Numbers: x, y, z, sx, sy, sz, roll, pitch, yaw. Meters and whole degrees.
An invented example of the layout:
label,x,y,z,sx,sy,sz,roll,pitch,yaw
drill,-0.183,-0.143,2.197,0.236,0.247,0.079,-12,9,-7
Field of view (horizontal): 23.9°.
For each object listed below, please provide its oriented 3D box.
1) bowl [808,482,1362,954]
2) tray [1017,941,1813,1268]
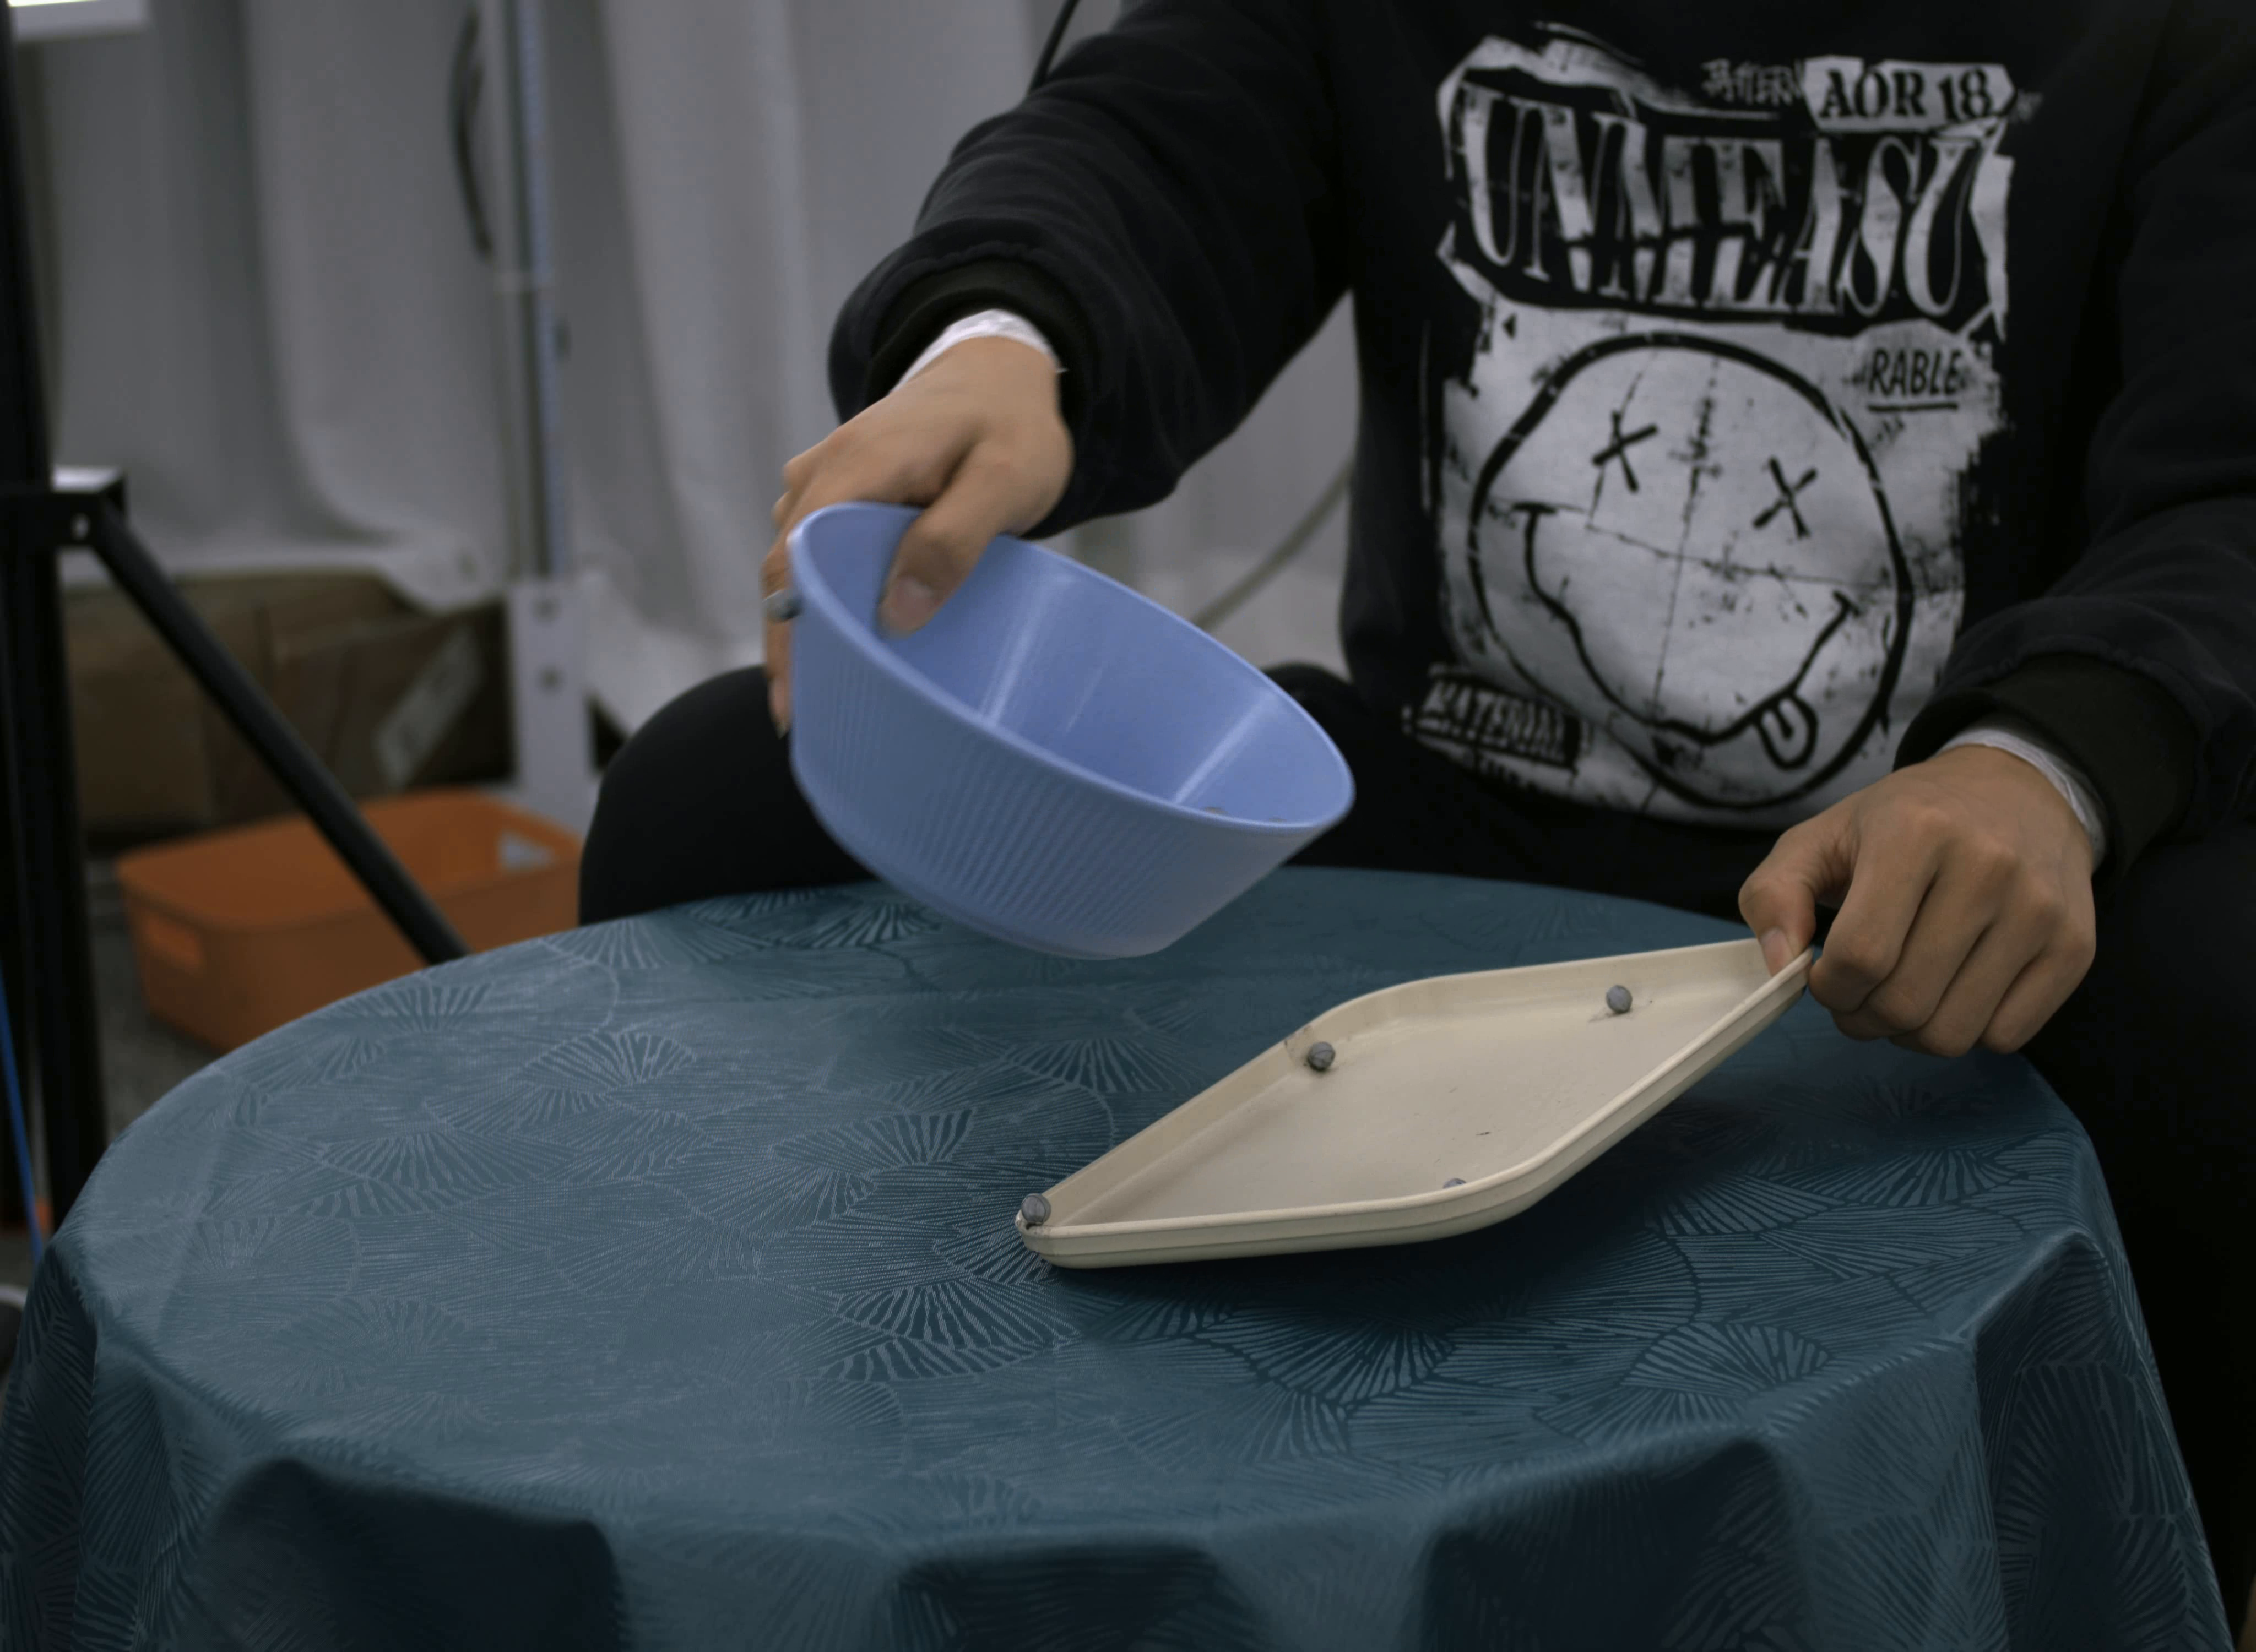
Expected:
label,x,y,z,sx,sy,sz,roll,pitch,yaw
bowl,-0.024,-0.023,1.516,0.174,0.070,0.177,26,19,-11
tray,0.088,0.082,1.542,0.174,0.017,0.235,-7,12,34
